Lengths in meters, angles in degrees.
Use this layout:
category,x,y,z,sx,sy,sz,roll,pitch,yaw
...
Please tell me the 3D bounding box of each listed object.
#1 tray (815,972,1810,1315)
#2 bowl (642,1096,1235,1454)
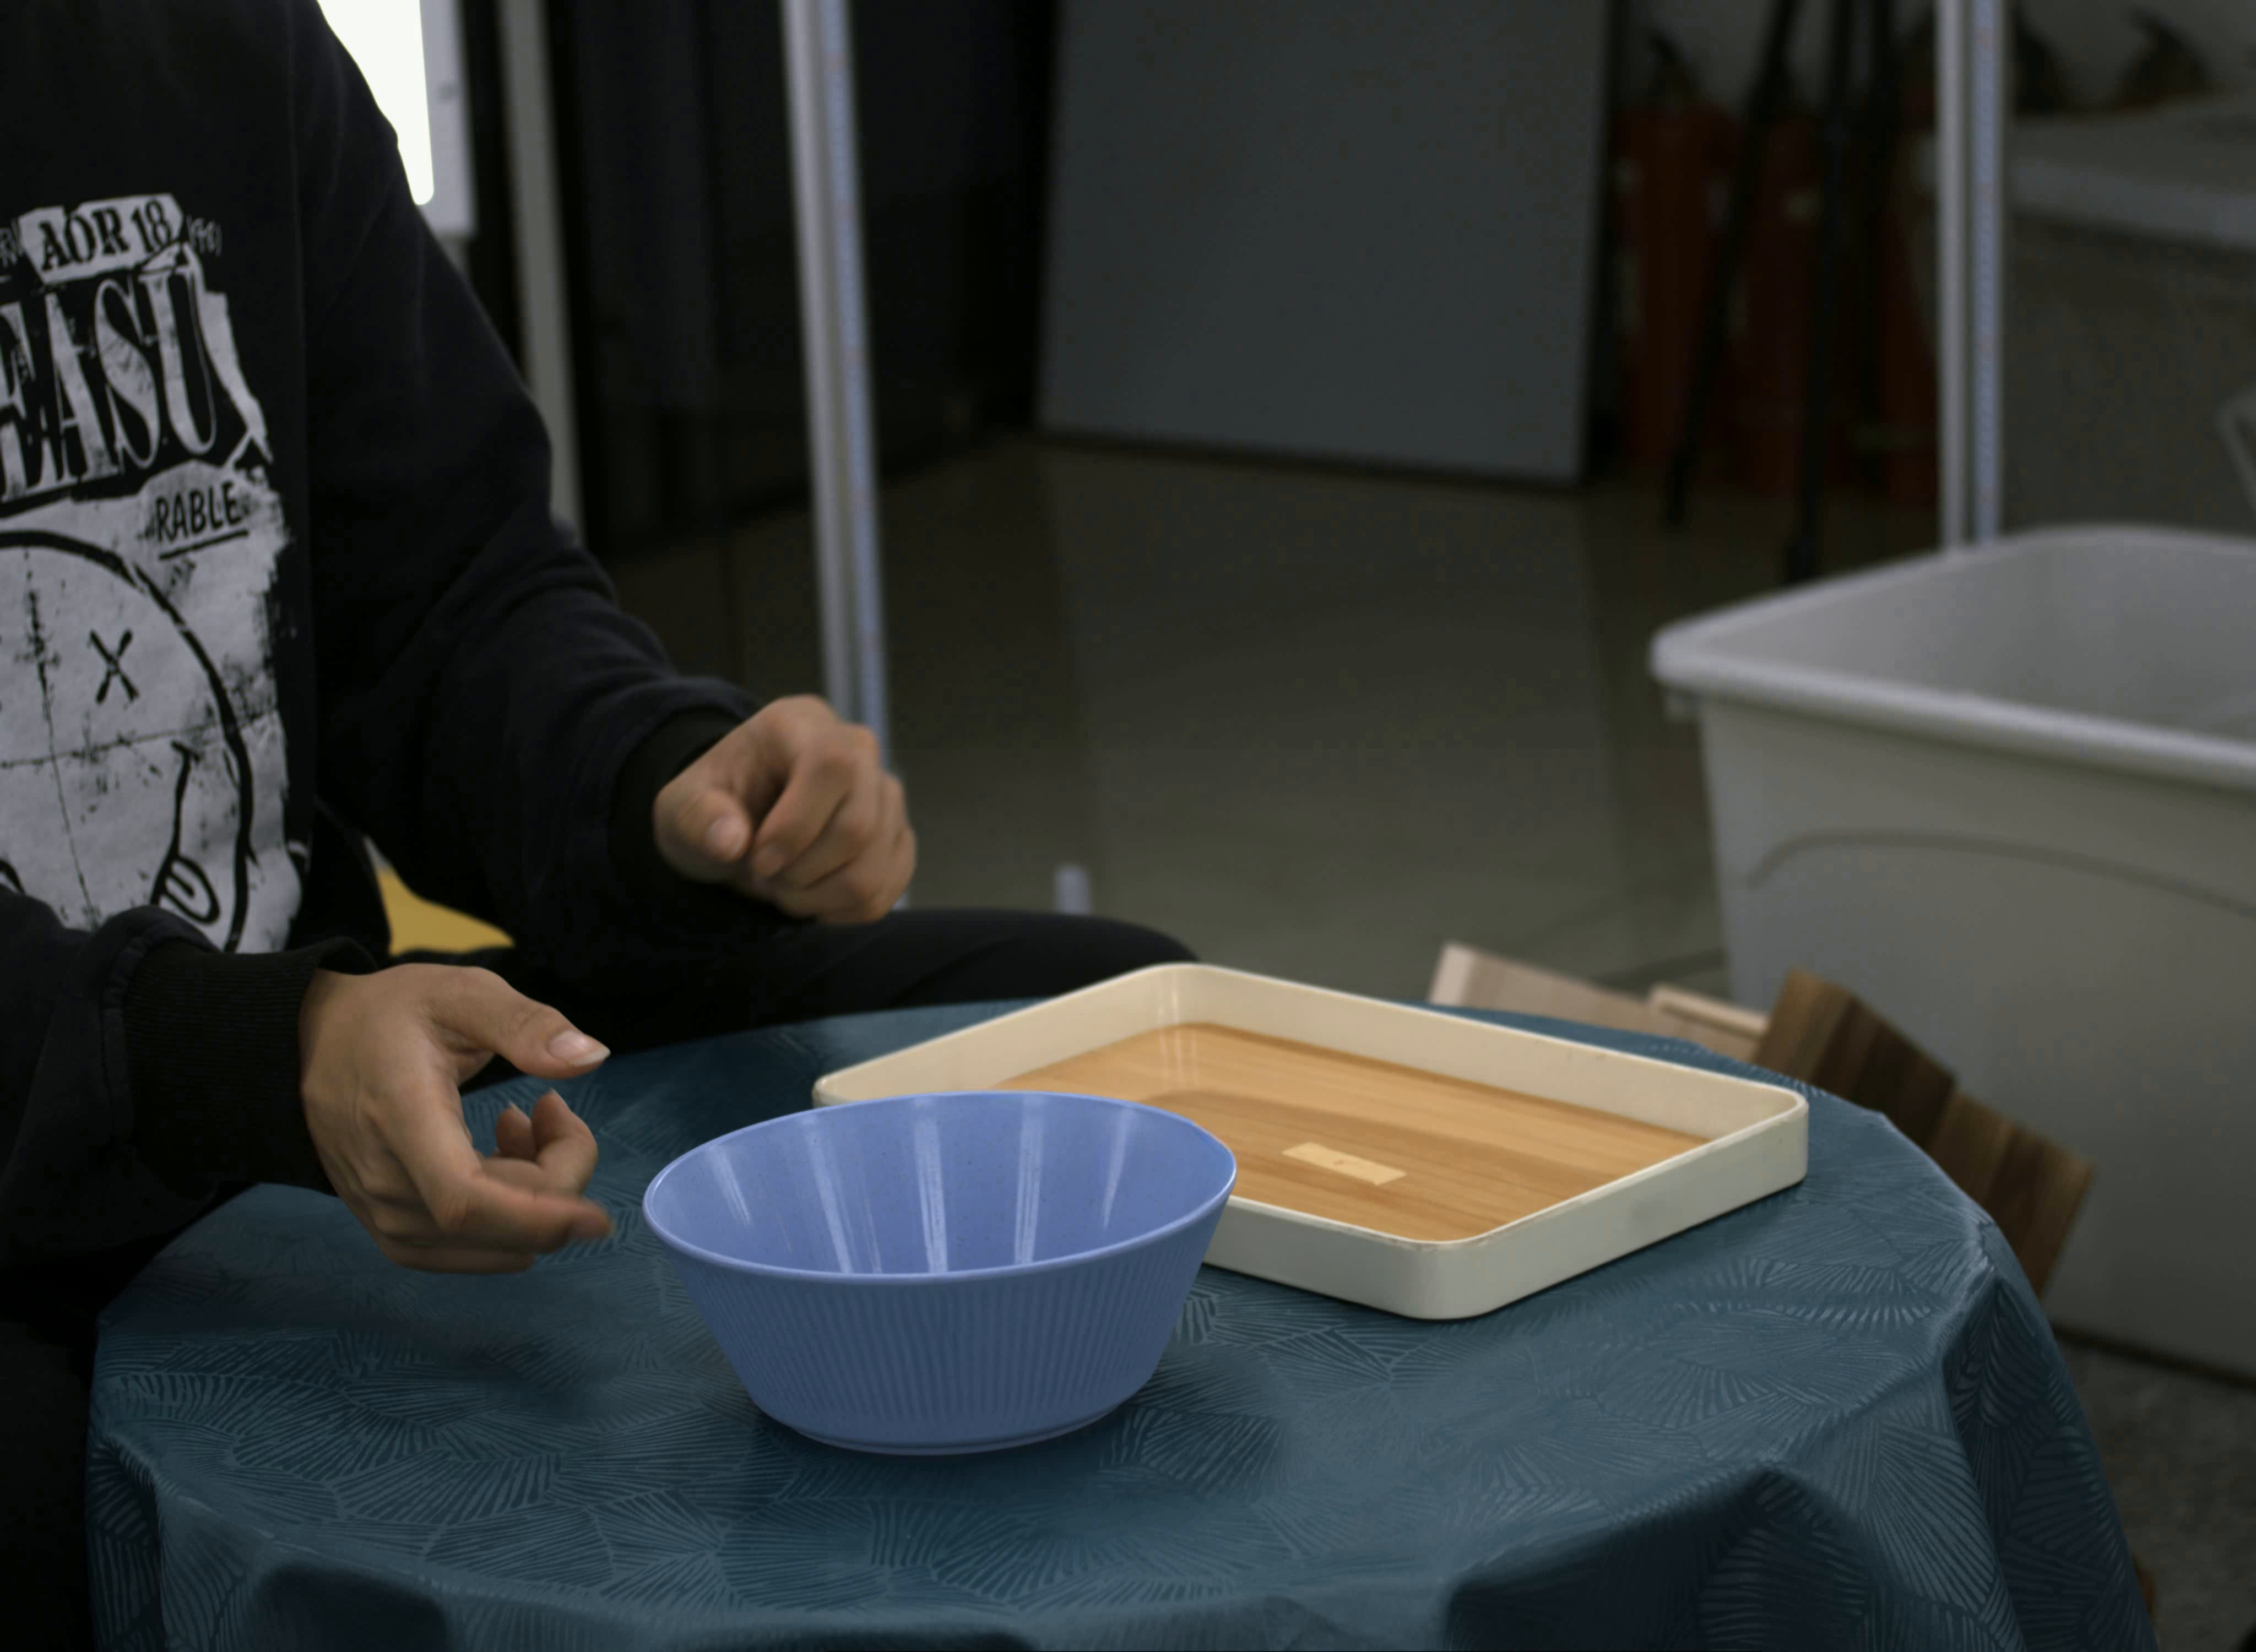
category,x,y,z,sx,sy,sz,roll,pitch,yaw
tray,0.058,0.101,1.780,0.187,0.028,0.303,-16,18,-42
bowl,-0.054,0.134,1.586,0.174,0.071,0.176,-3,13,0
